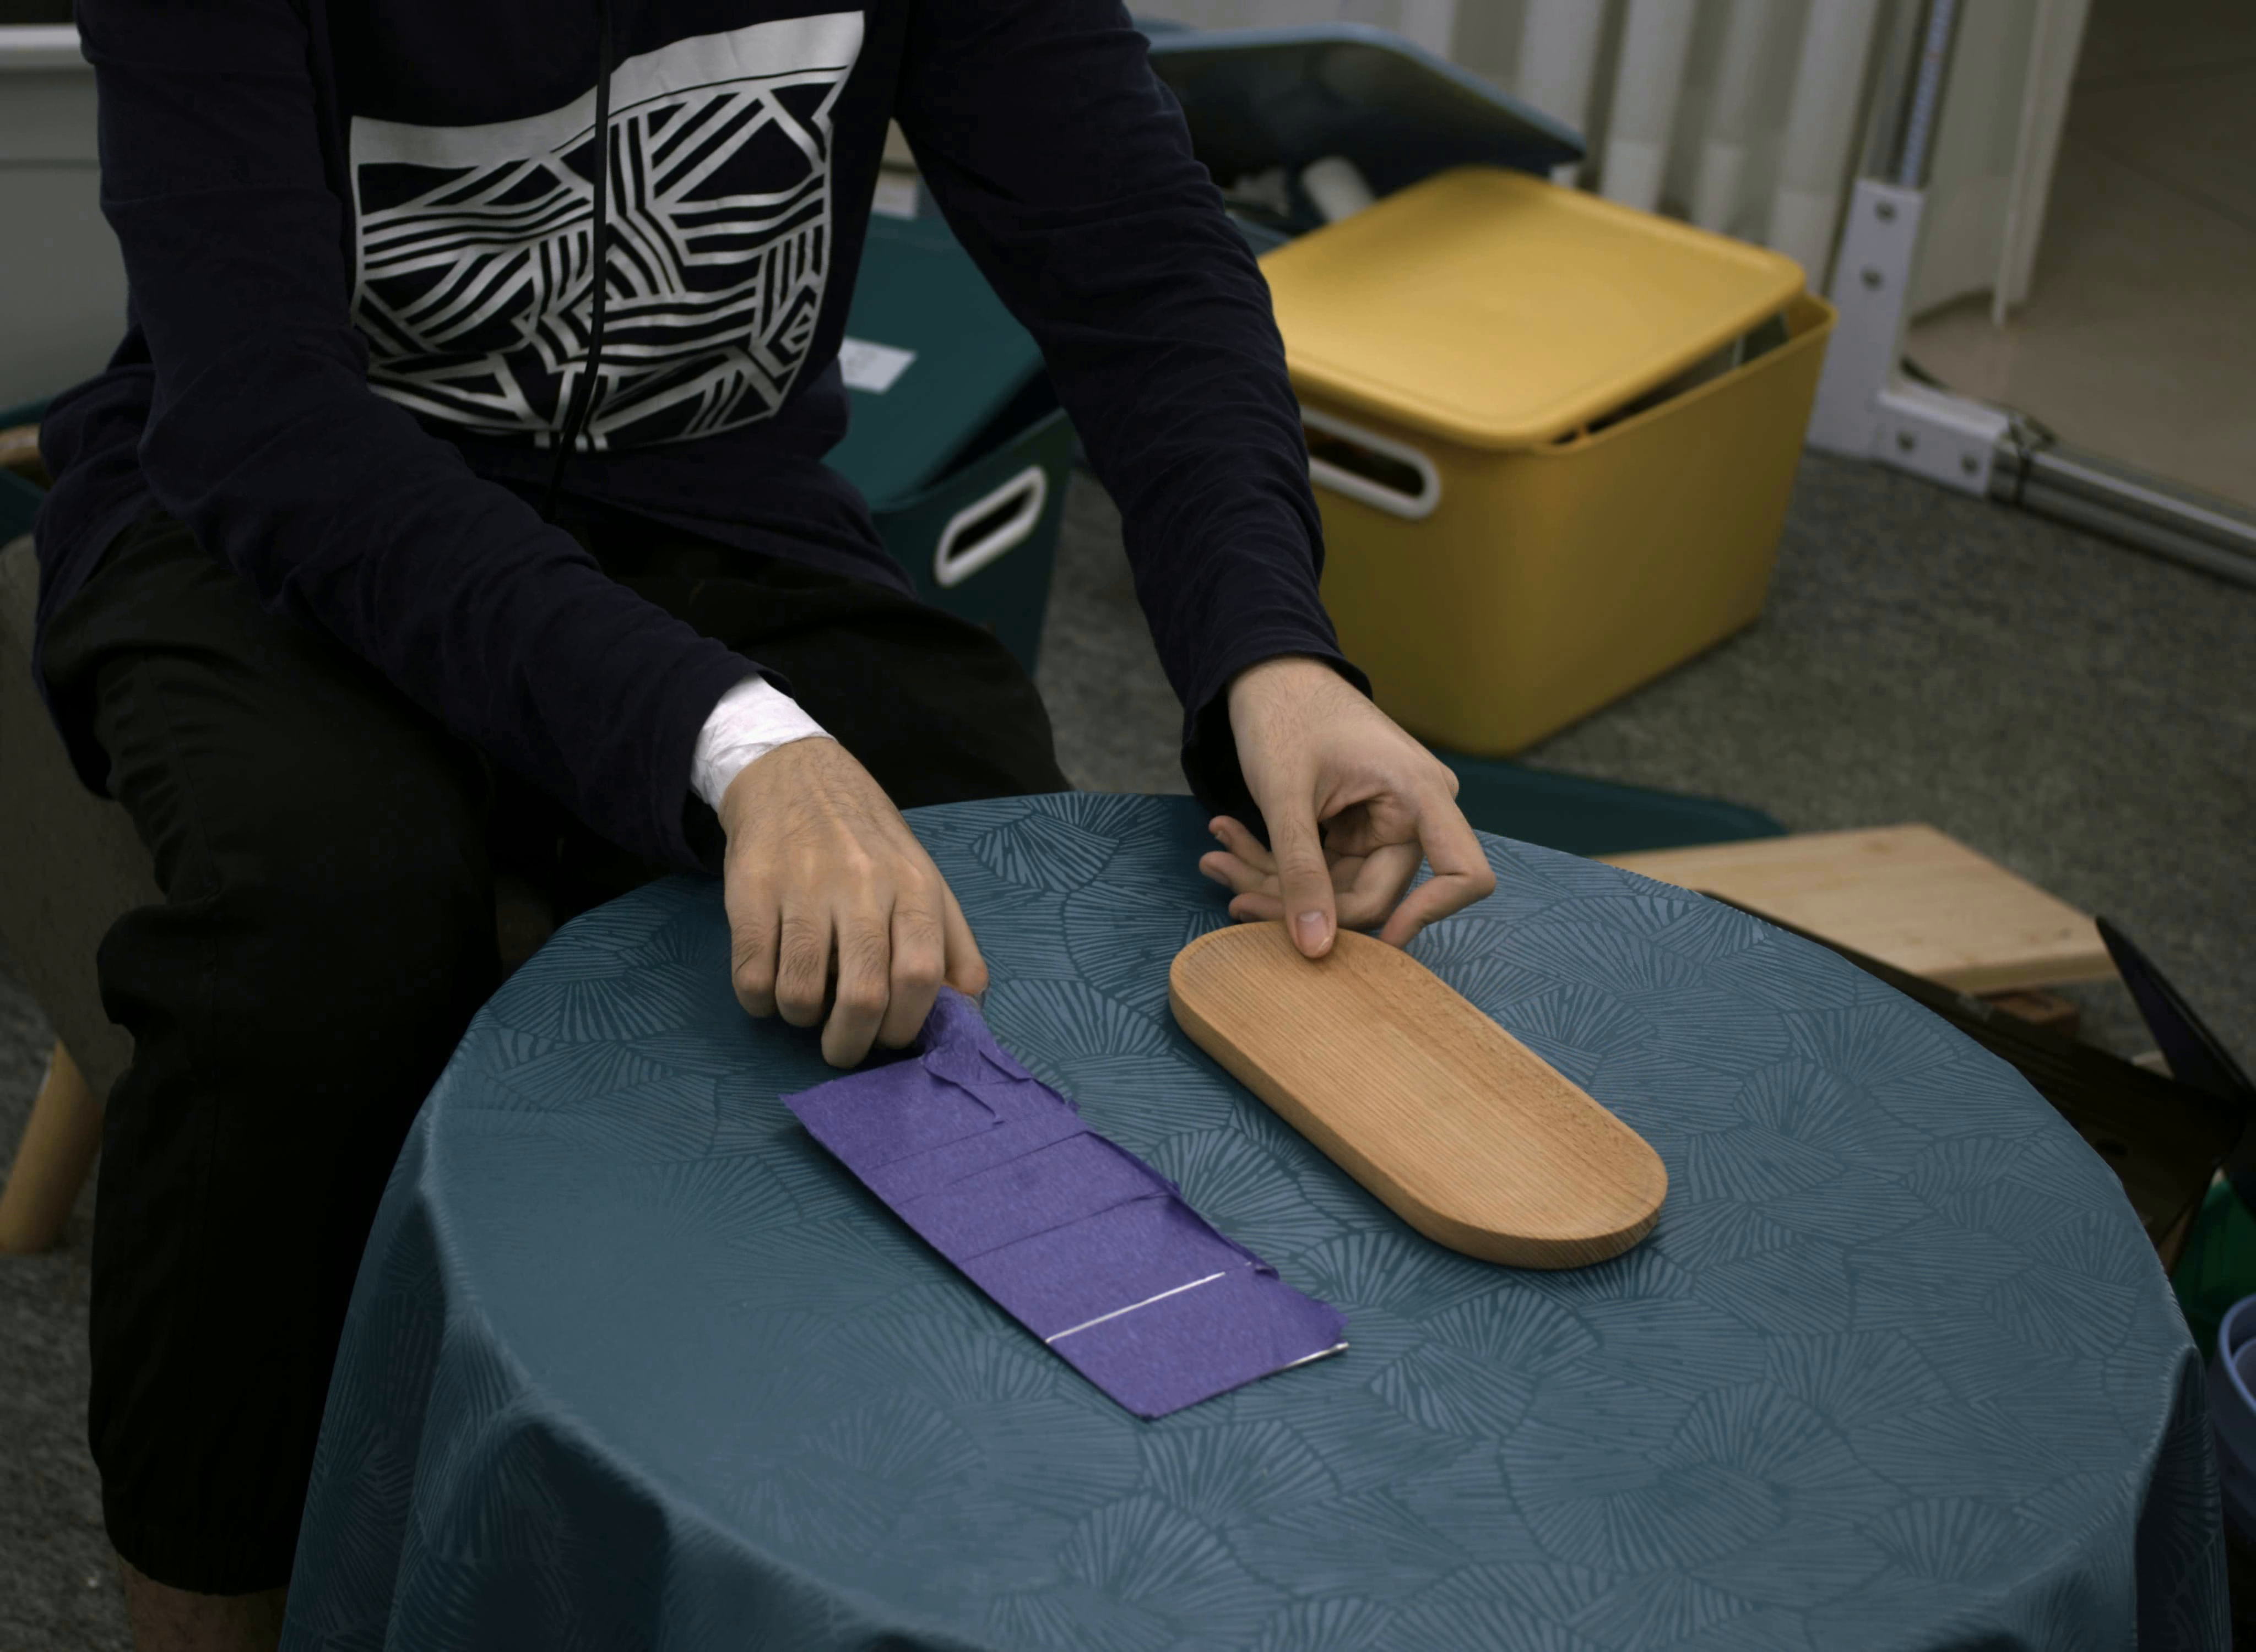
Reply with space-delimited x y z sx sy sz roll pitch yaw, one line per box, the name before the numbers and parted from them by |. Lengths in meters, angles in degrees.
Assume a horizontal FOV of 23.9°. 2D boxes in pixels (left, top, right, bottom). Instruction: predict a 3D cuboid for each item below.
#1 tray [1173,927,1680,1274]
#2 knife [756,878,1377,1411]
tray | 0.102 0.095 1.869 0.101 0.020 0.233 -12 34 -32
knife | -0.052 0.104 1.804 0.103 0.032 0.318 -14 34 -36
